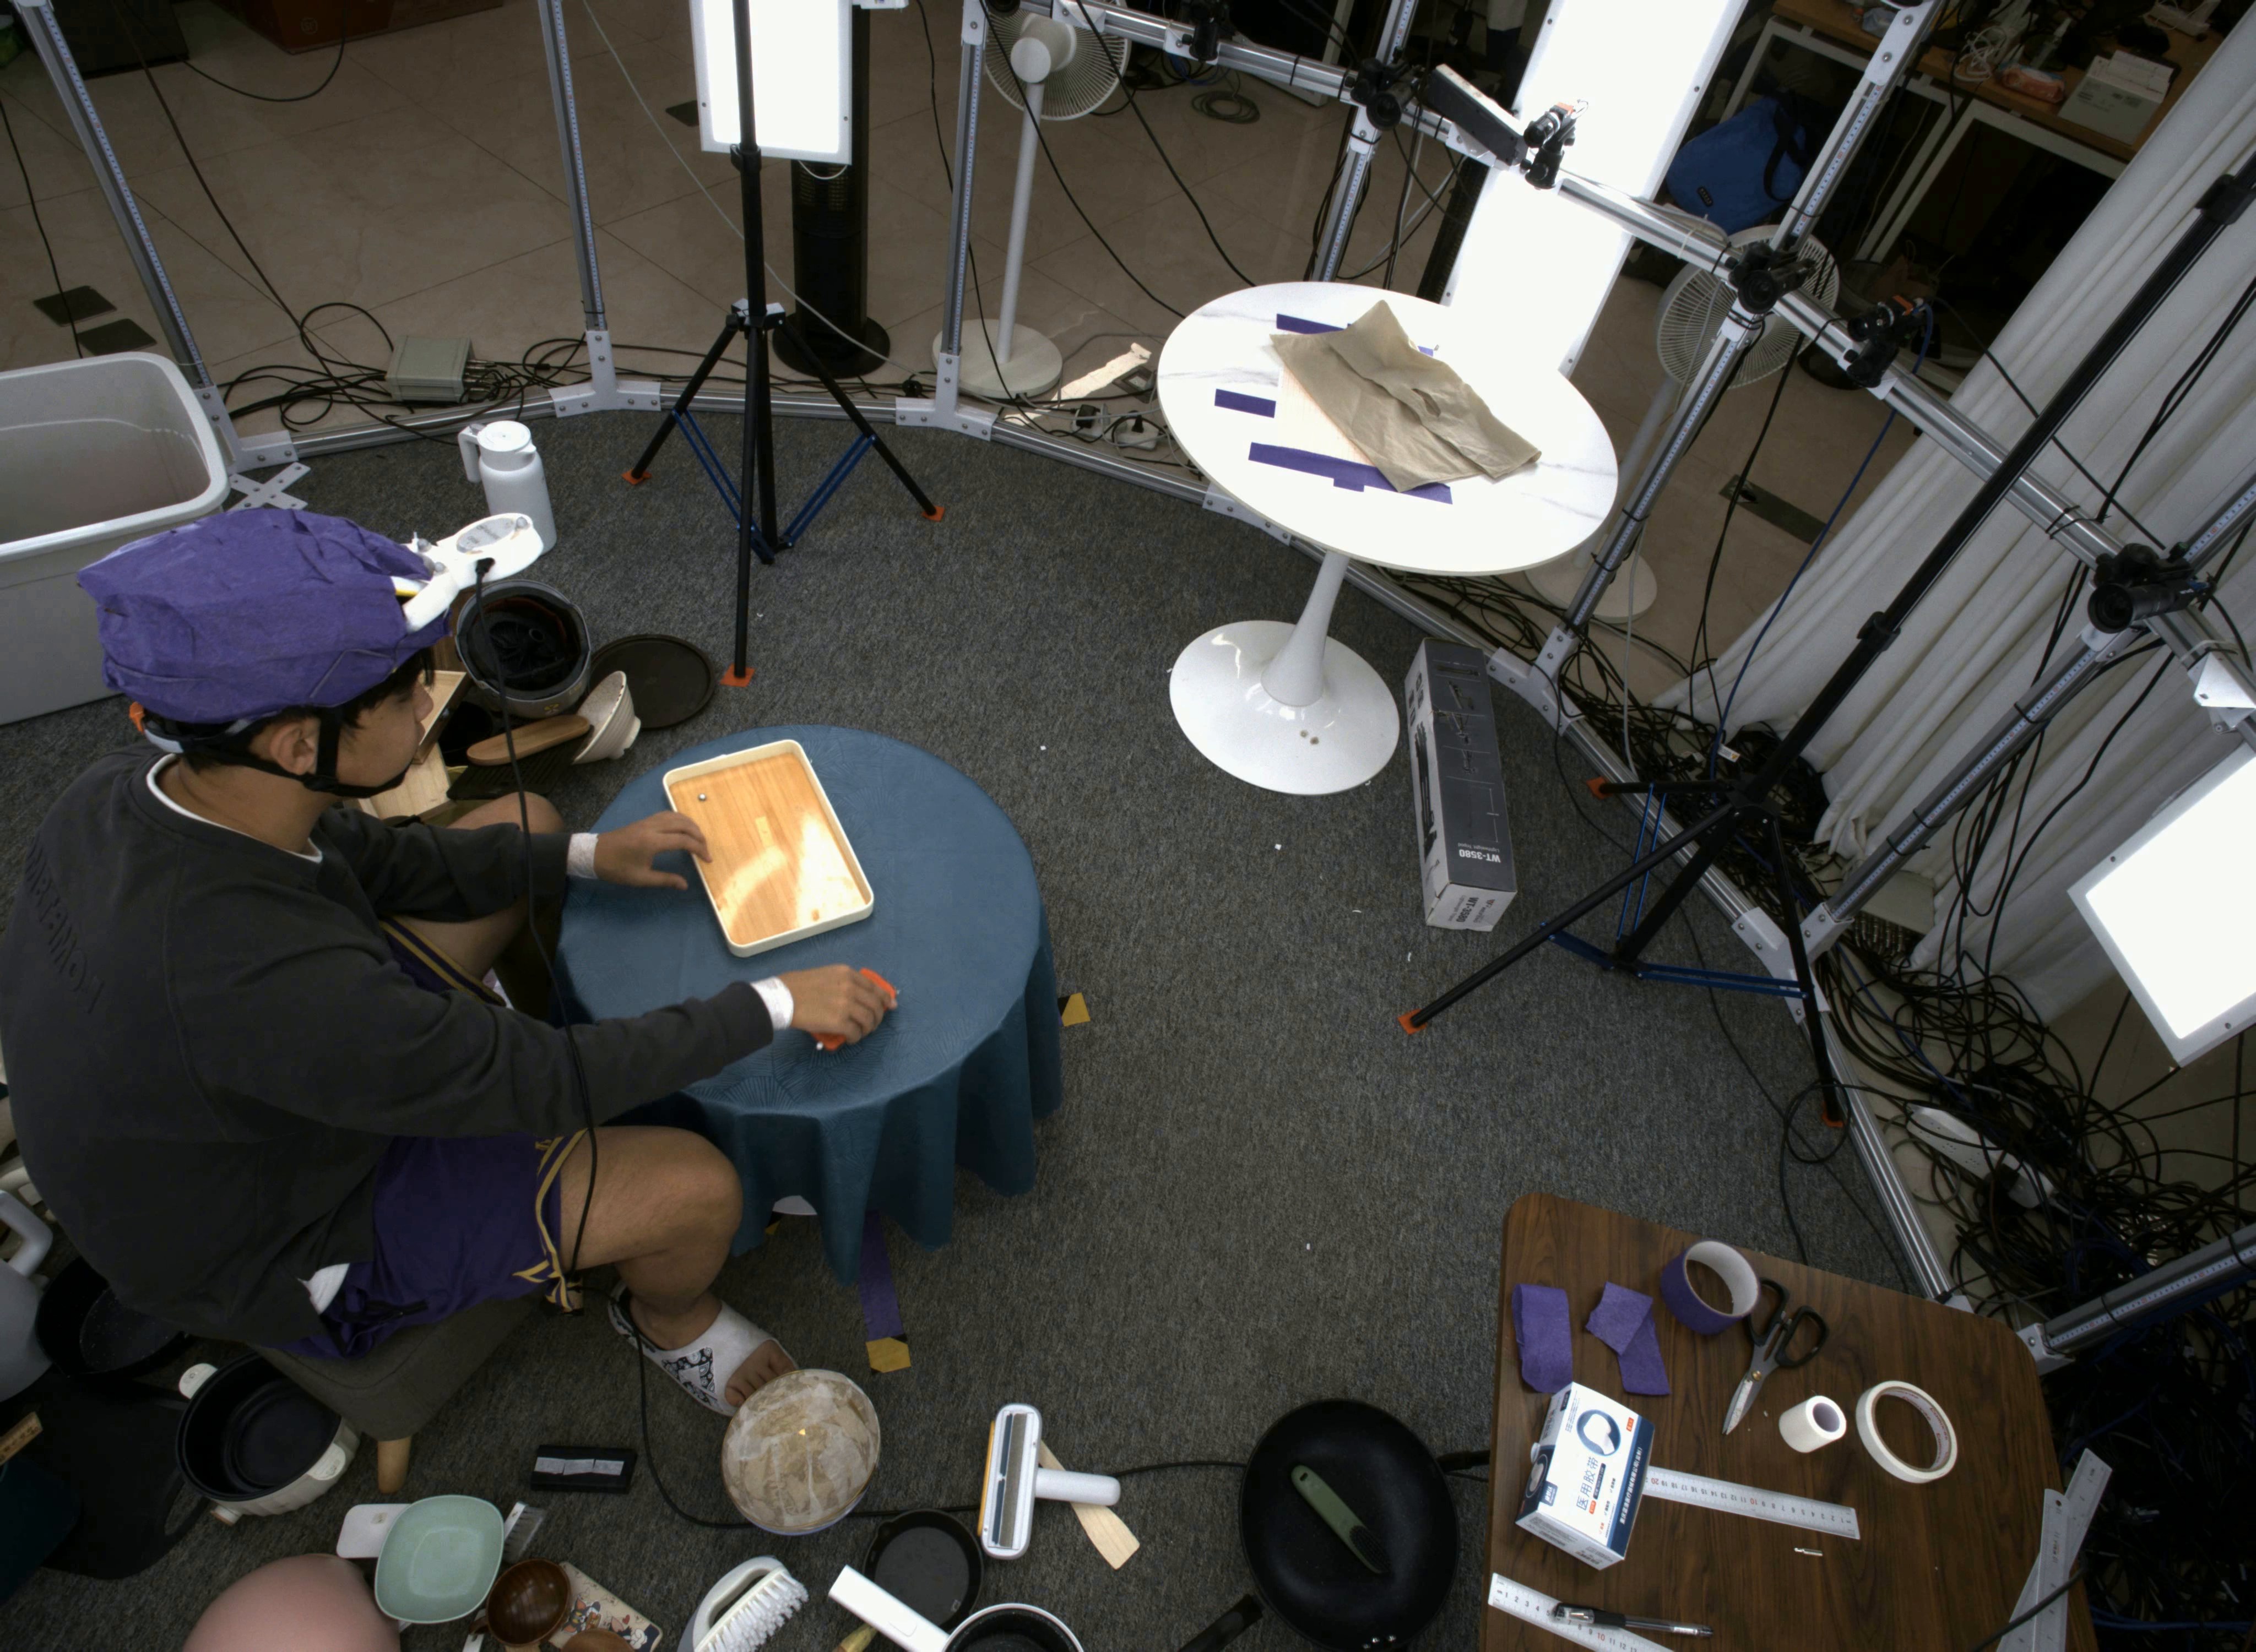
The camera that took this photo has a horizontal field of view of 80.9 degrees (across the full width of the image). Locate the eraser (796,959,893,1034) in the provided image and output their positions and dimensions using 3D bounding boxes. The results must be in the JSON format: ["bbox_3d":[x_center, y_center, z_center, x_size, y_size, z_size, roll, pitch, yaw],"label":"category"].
[{"bbox_3d":[-0.341,0.202,1.562,0.108,0.023,0.057,-24,60,-32],"label":"eraser"}]

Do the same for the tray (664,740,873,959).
[{"bbox_3d":[-0.470,0.022,1.683,0.192,0.028,0.293,-18,60,-26],"label":"tray"}]
